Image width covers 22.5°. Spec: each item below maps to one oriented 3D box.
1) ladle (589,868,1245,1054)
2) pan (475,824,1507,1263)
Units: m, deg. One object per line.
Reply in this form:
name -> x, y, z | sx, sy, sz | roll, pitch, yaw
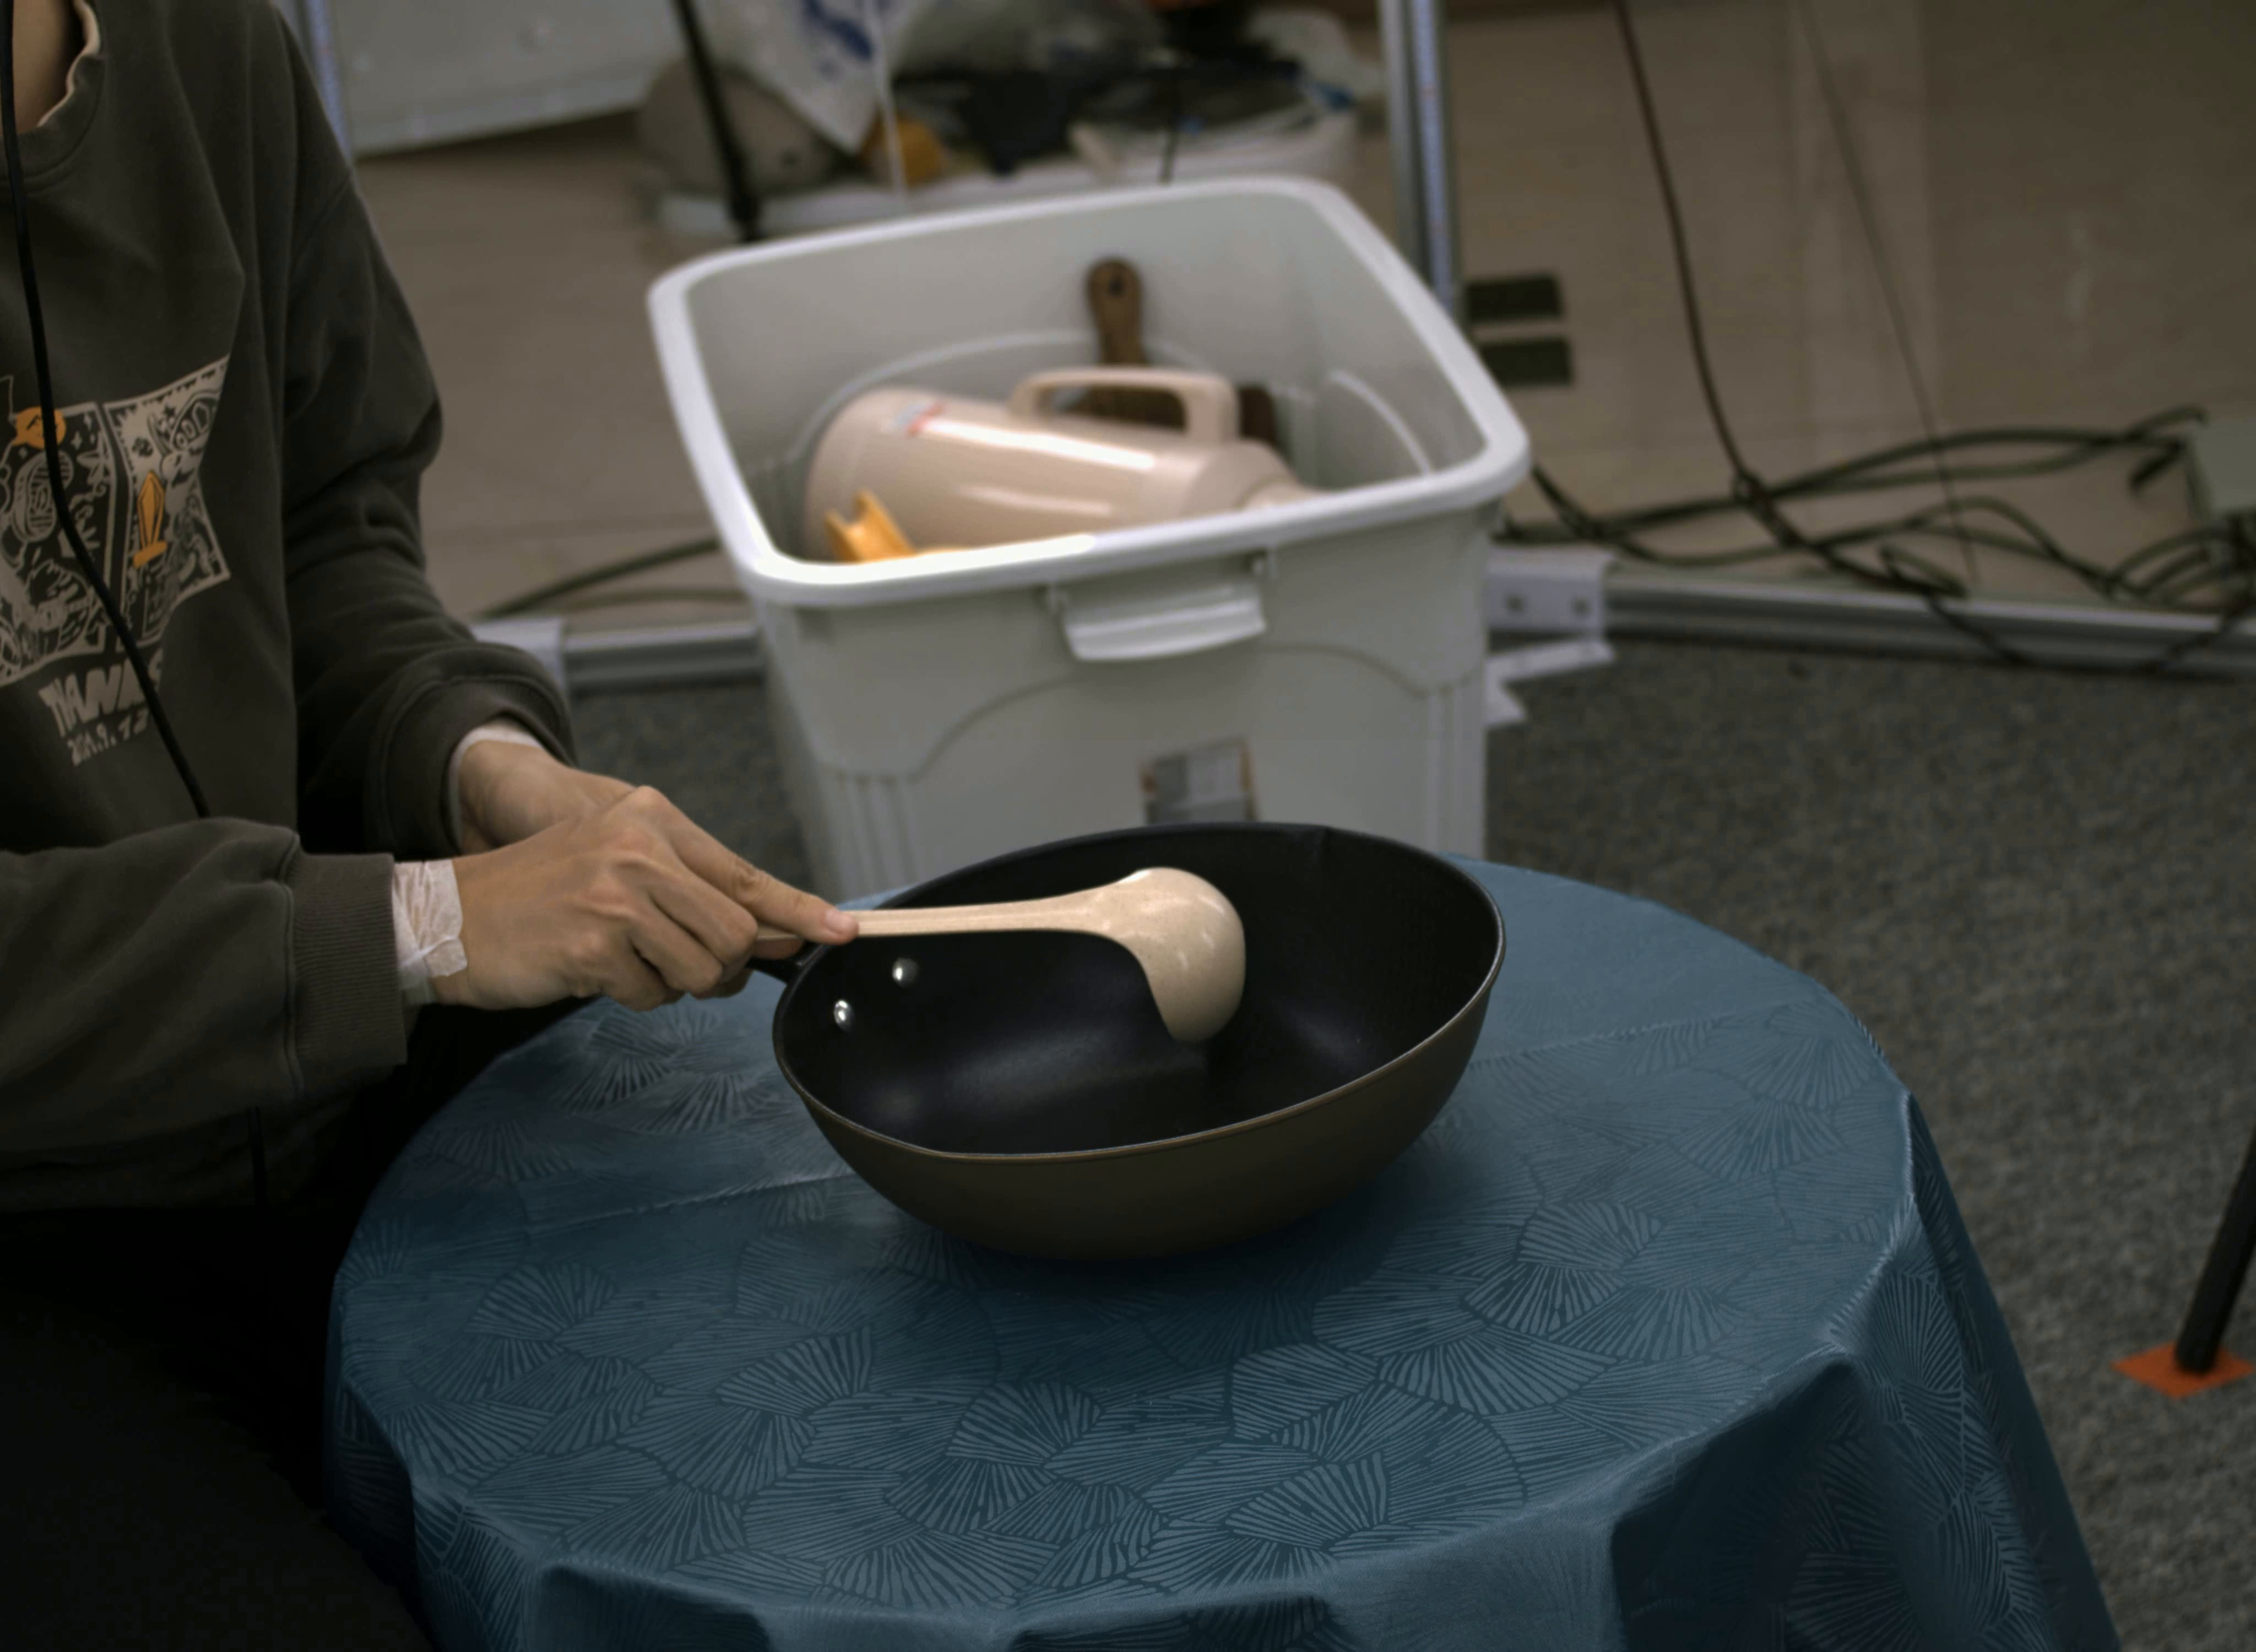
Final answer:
ladle -> -0.082, 0.051, 2.198 | 0.254, 0.074, 0.071 | 1, 55, -6
pan -> -0.067, 0.082, 2.189 | 0.461, 0.088, 0.285 | 7, 28, 33
